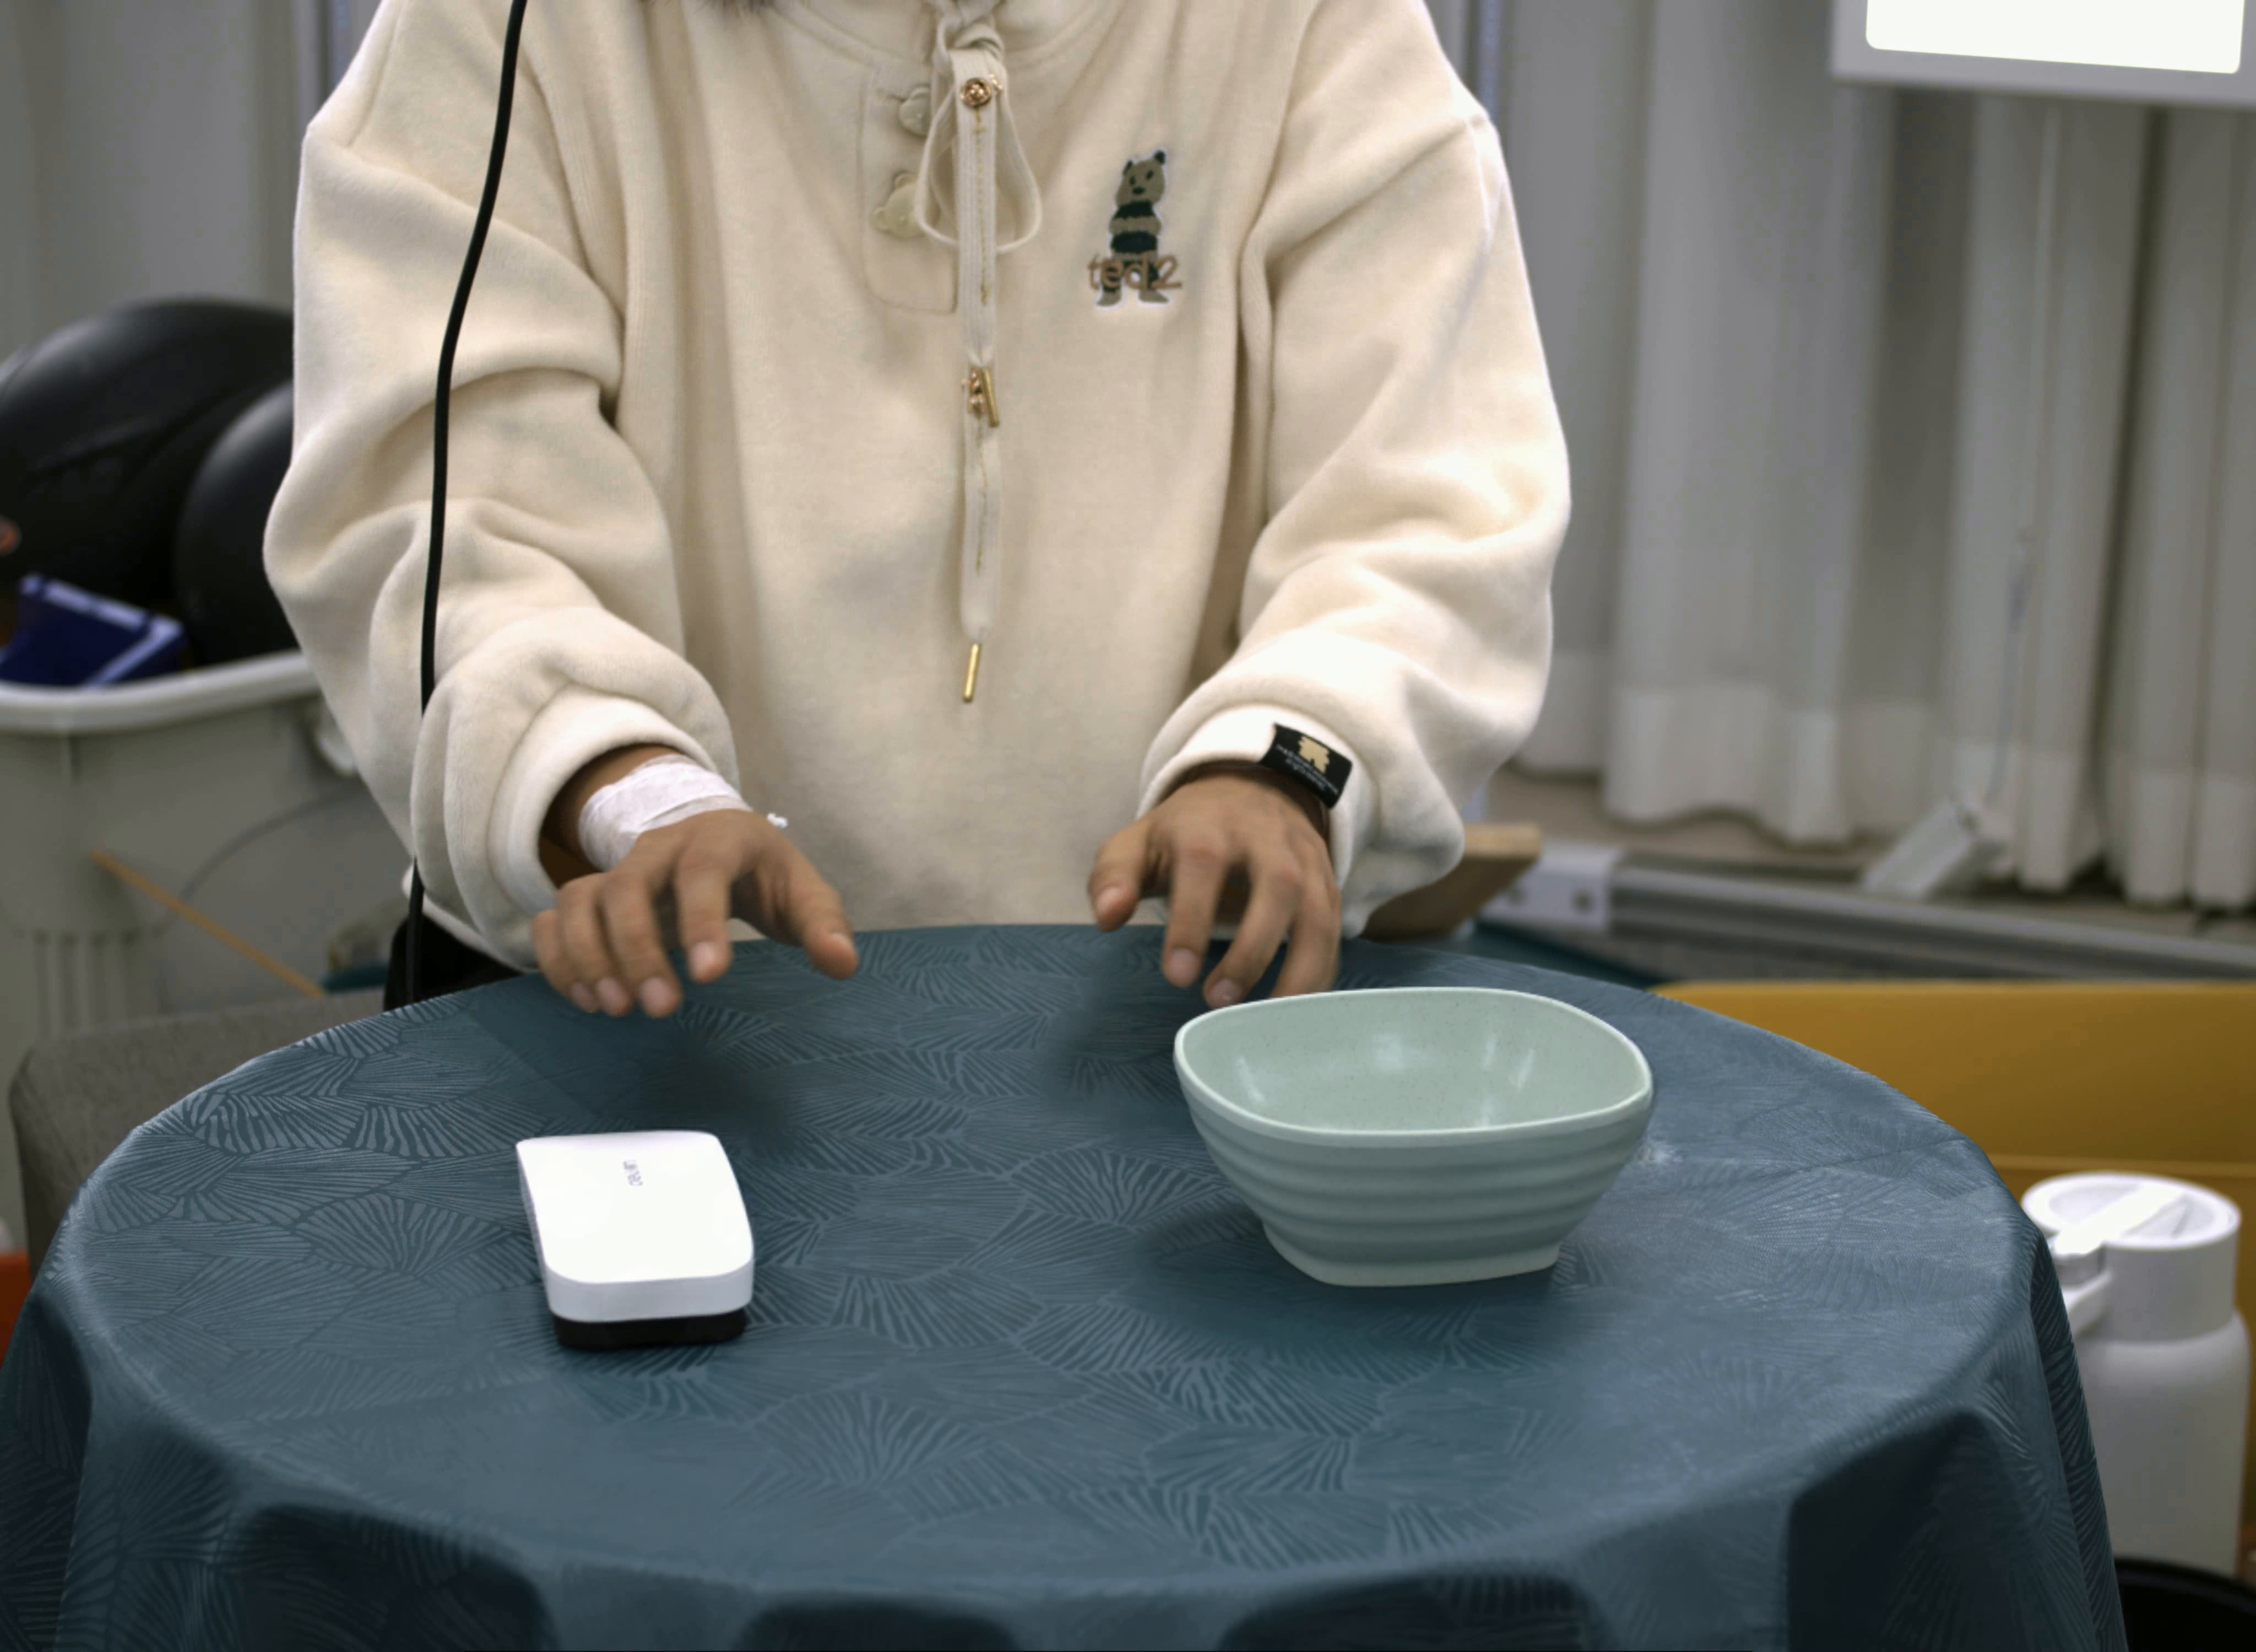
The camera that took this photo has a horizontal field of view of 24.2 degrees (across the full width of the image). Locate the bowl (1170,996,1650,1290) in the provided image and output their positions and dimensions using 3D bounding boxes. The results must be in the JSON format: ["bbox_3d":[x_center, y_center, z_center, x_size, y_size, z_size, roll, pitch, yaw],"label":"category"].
[{"bbox_3d":[0.082,0.098,1.574,0.151,0.059,0.150,2,15,0],"label":"bowl"}]

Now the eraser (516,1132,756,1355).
[{"bbox_3d":[-0.144,0.117,1.542,0.063,0.035,0.130,-3,16,-10],"label":"eraser"}]
